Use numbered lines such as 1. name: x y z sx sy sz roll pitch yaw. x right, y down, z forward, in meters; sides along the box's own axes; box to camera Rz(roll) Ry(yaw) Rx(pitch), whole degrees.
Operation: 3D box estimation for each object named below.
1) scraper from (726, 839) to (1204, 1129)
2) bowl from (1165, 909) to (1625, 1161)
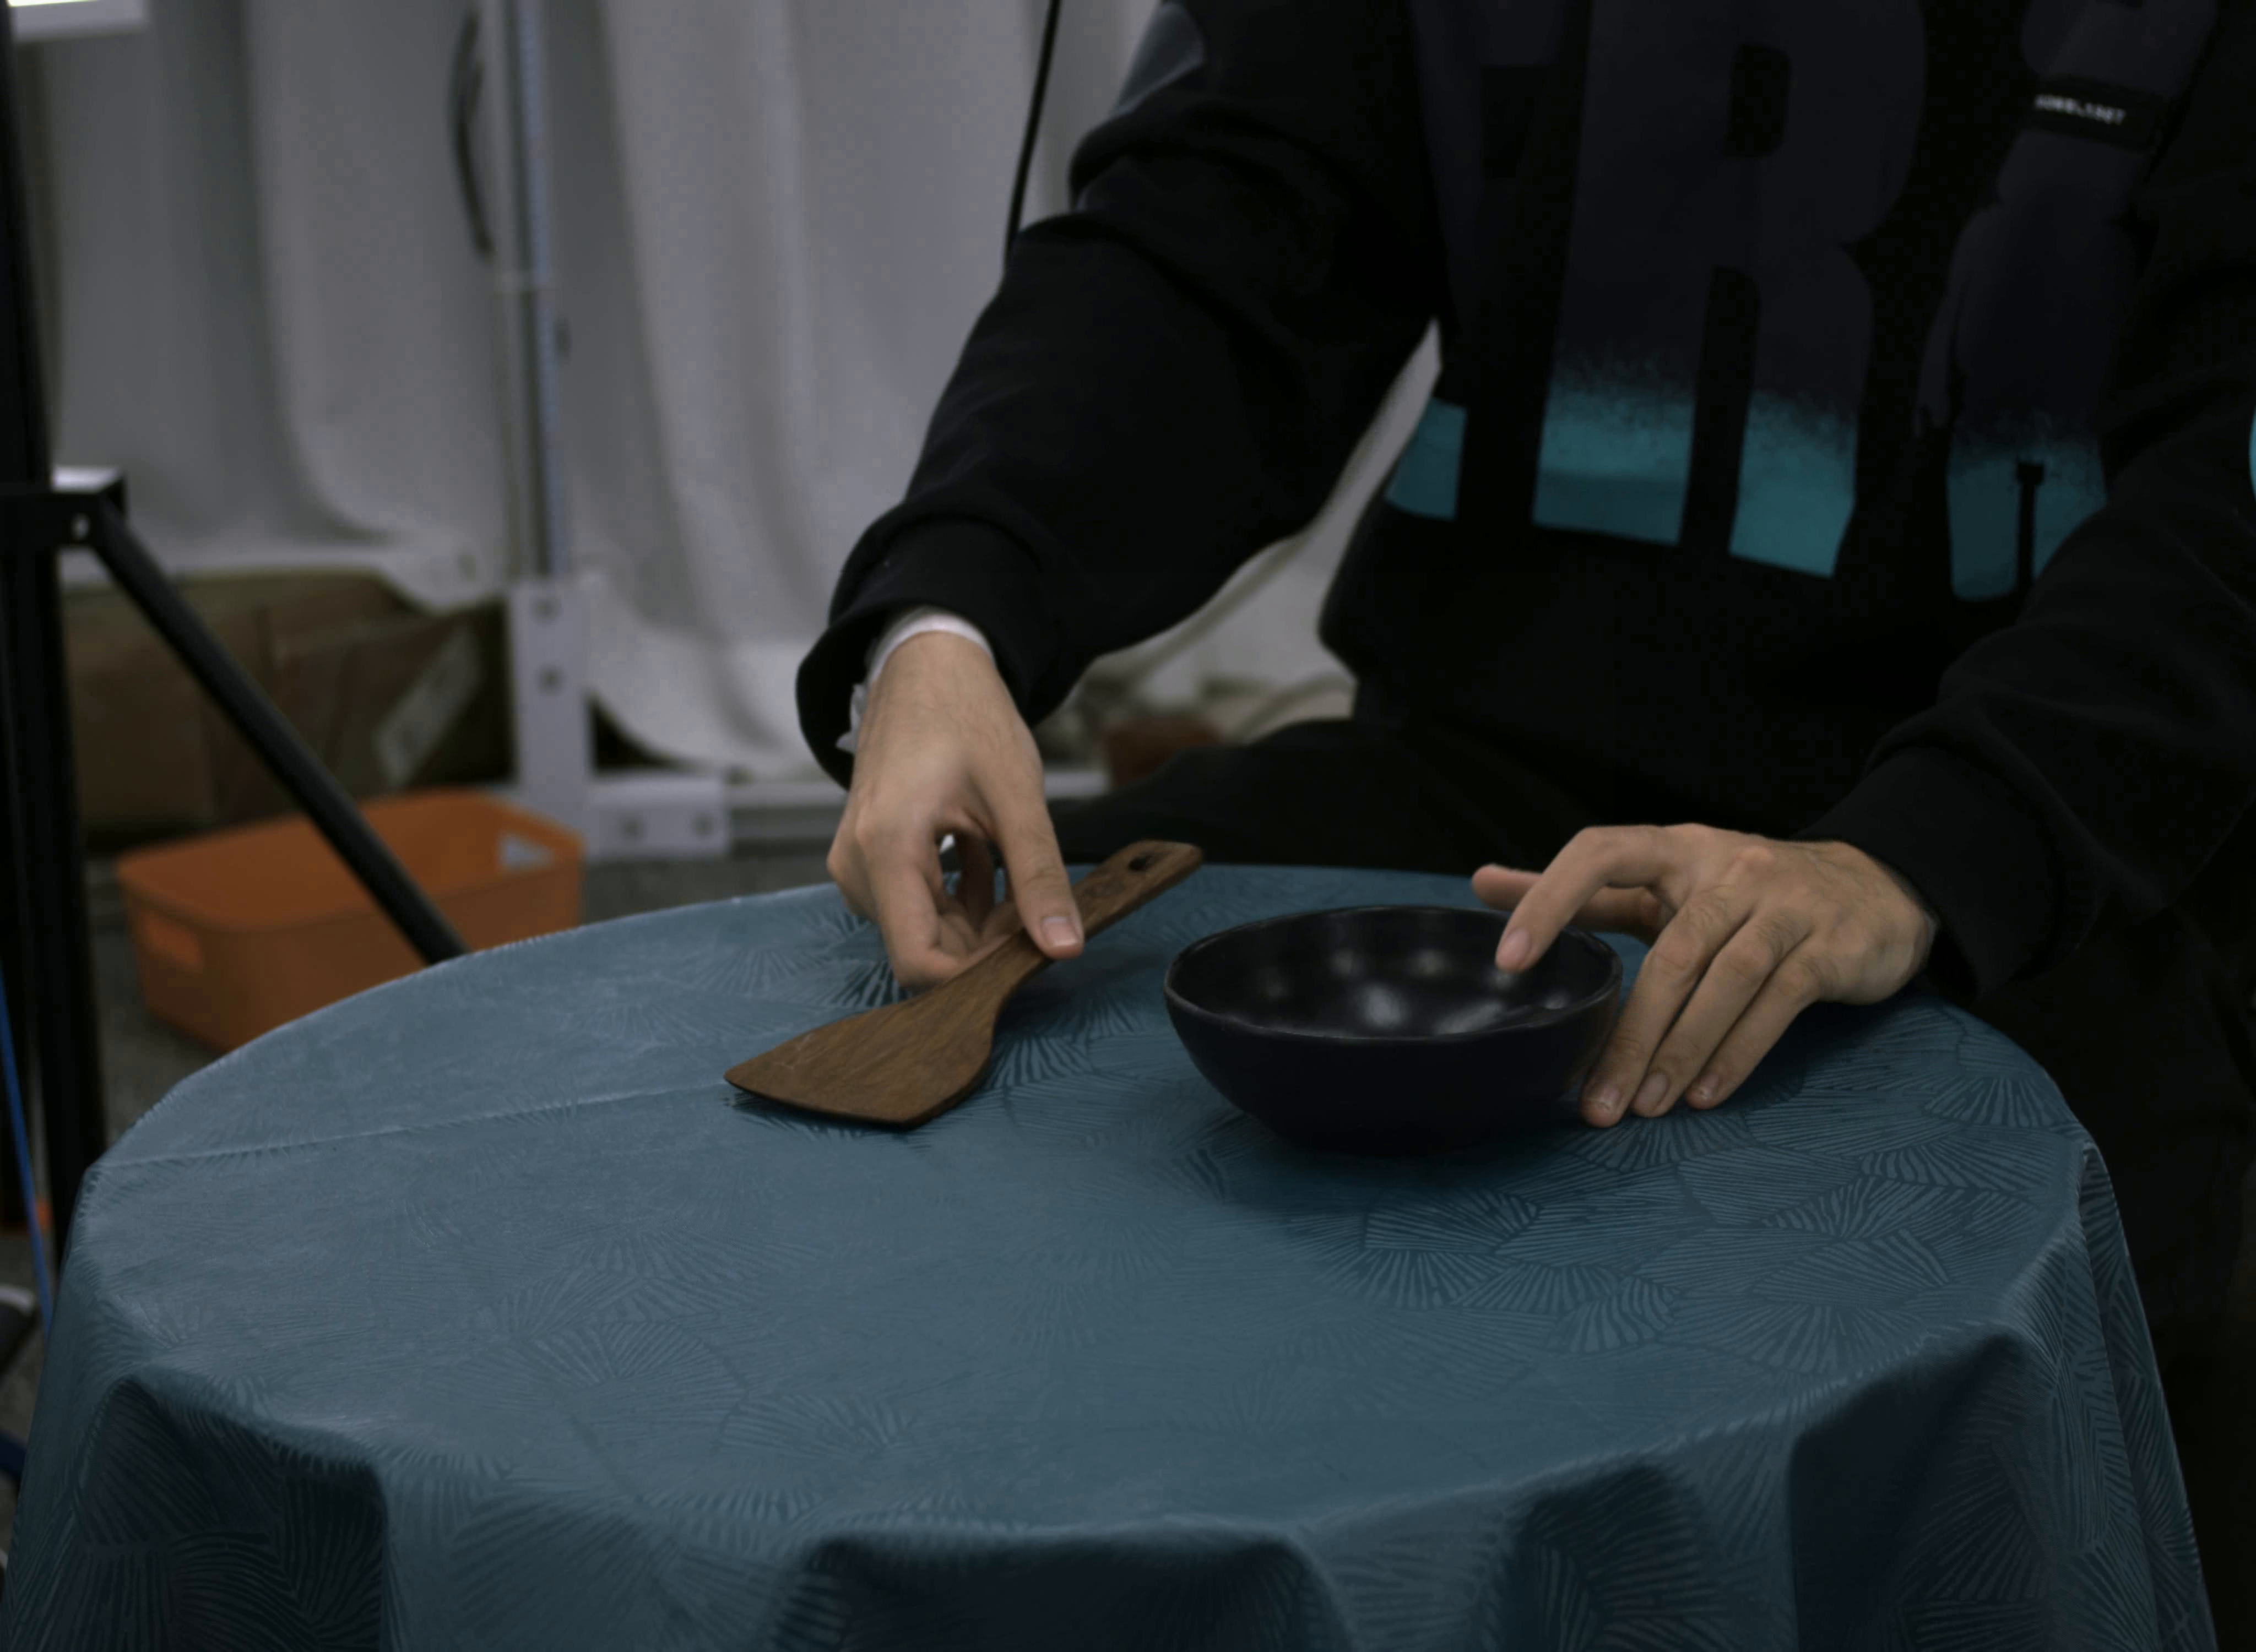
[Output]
1. scraper: -0.041 0.049 1.712 0.077 0.011 0.208 12 31 33
2. bowl: 0.082 0.067 1.600 0.139 0.050 0.140 -5 14 0
